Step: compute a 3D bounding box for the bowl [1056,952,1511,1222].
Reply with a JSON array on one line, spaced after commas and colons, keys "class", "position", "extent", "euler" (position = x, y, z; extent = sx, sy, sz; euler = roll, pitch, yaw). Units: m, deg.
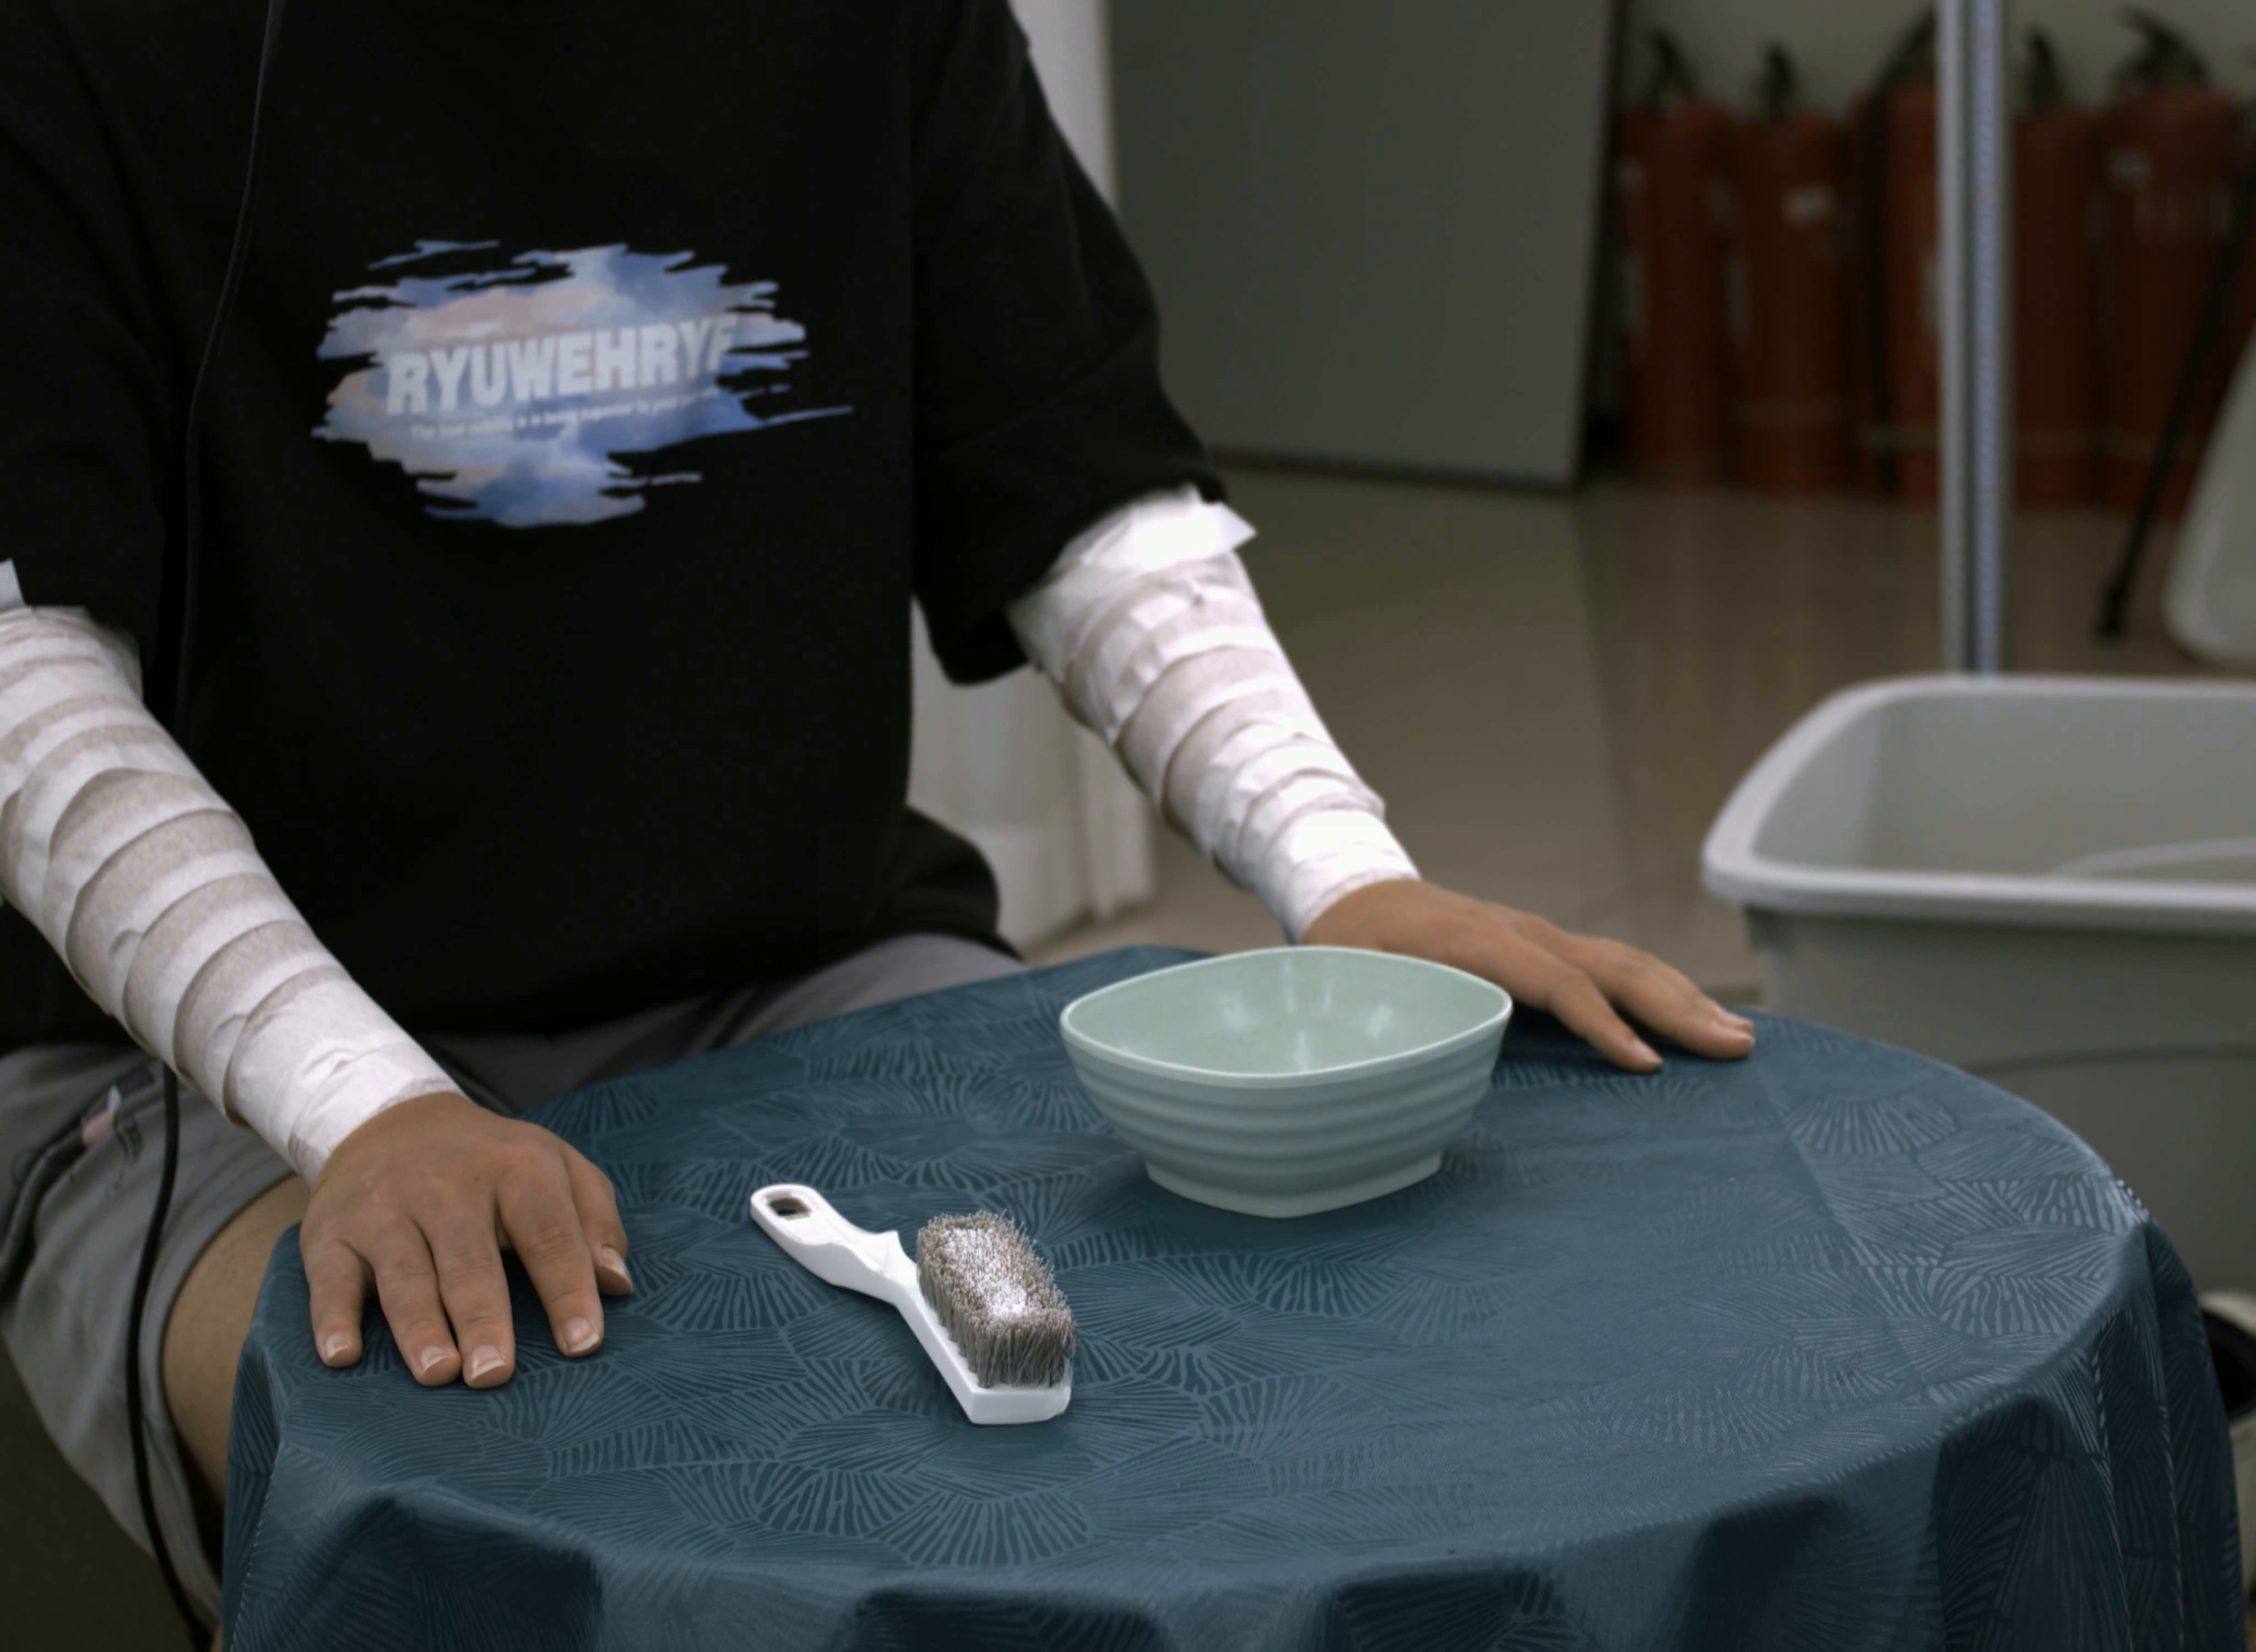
[{"class": "bowl", "position": [0.052, 0.088, 1.774], "extent": [0.149, 0.059, 0.151], "euler": [-2, 13, 0]}]

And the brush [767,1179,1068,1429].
[{"class": "brush", "position": [-0.070, 0.127, 1.661], "extent": [0.034, 0.051, 0.246], "euler": [-8, 15, -18]}]
